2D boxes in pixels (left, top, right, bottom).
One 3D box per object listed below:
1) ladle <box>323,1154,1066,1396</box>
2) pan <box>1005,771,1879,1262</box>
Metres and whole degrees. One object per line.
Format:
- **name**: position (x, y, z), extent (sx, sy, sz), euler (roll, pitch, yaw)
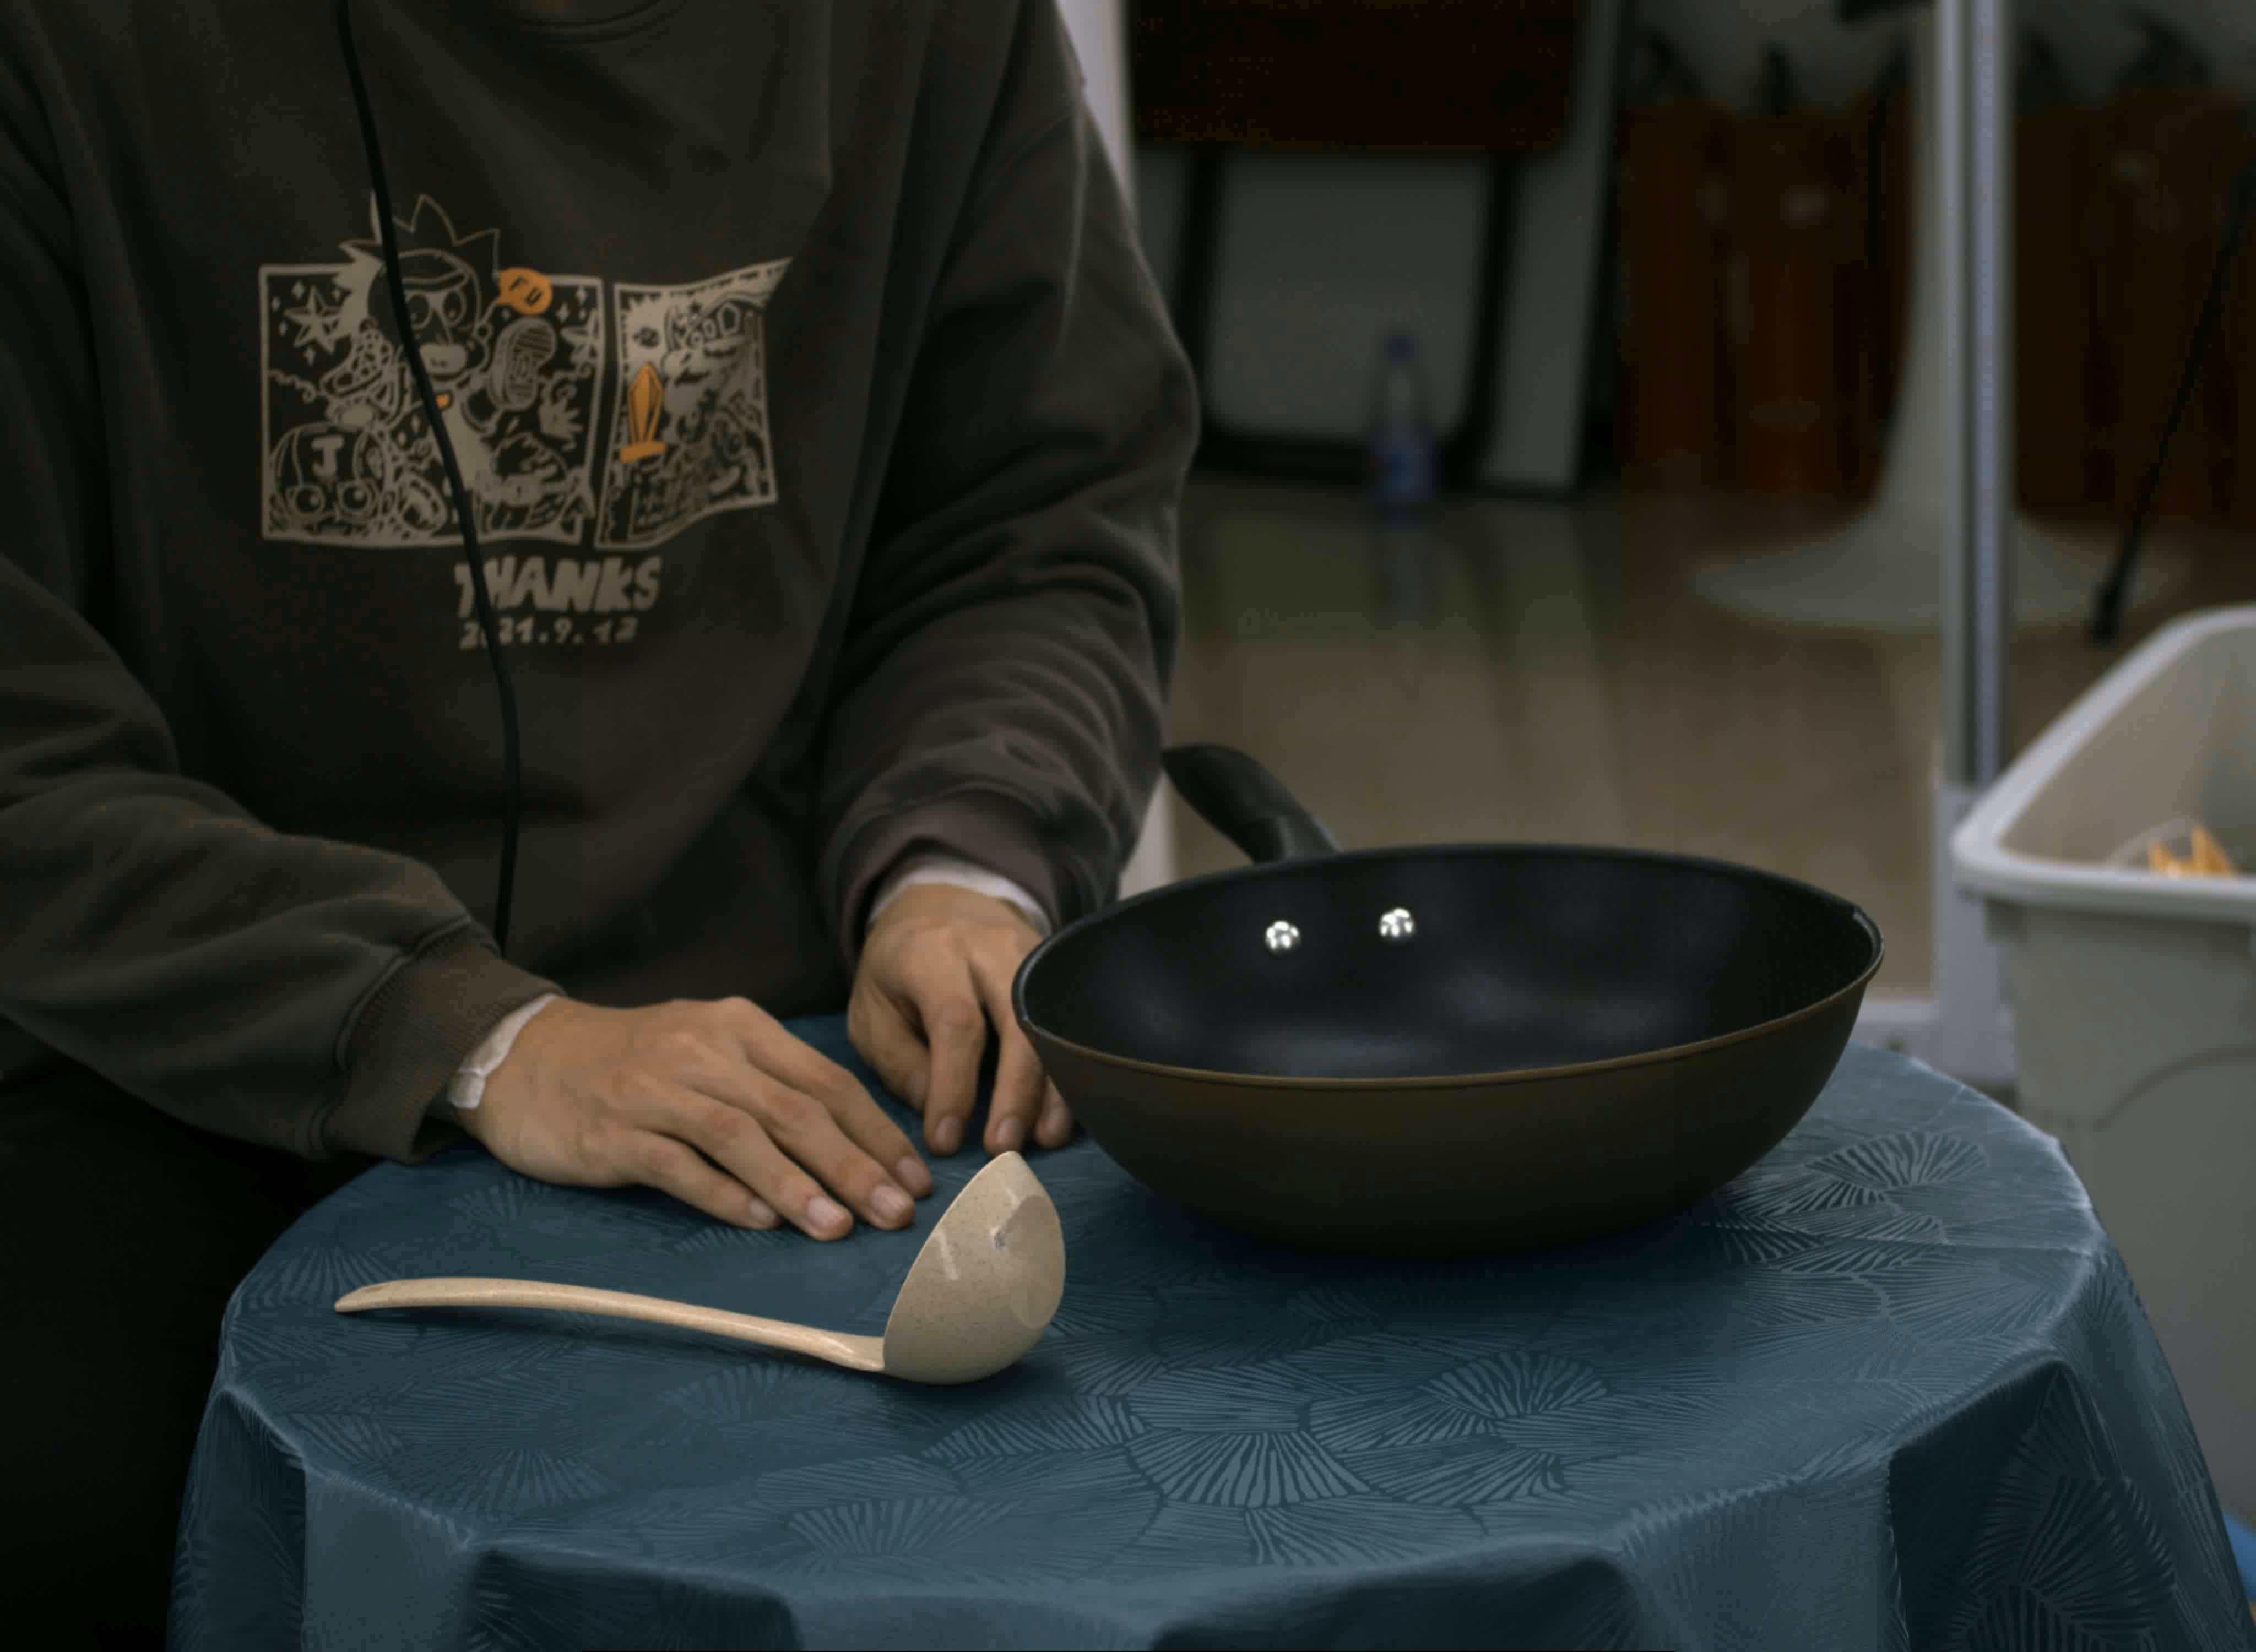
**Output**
- **ladle**: position (-0.139, 0.126, 1.641), extent (0.255, 0.073, 0.071), euler (4, 17, 25)
- **pan**: position (0.081, 0.061, 1.826), extent (0.283, 0.088, 0.466), euler (-7, 13, -12)
